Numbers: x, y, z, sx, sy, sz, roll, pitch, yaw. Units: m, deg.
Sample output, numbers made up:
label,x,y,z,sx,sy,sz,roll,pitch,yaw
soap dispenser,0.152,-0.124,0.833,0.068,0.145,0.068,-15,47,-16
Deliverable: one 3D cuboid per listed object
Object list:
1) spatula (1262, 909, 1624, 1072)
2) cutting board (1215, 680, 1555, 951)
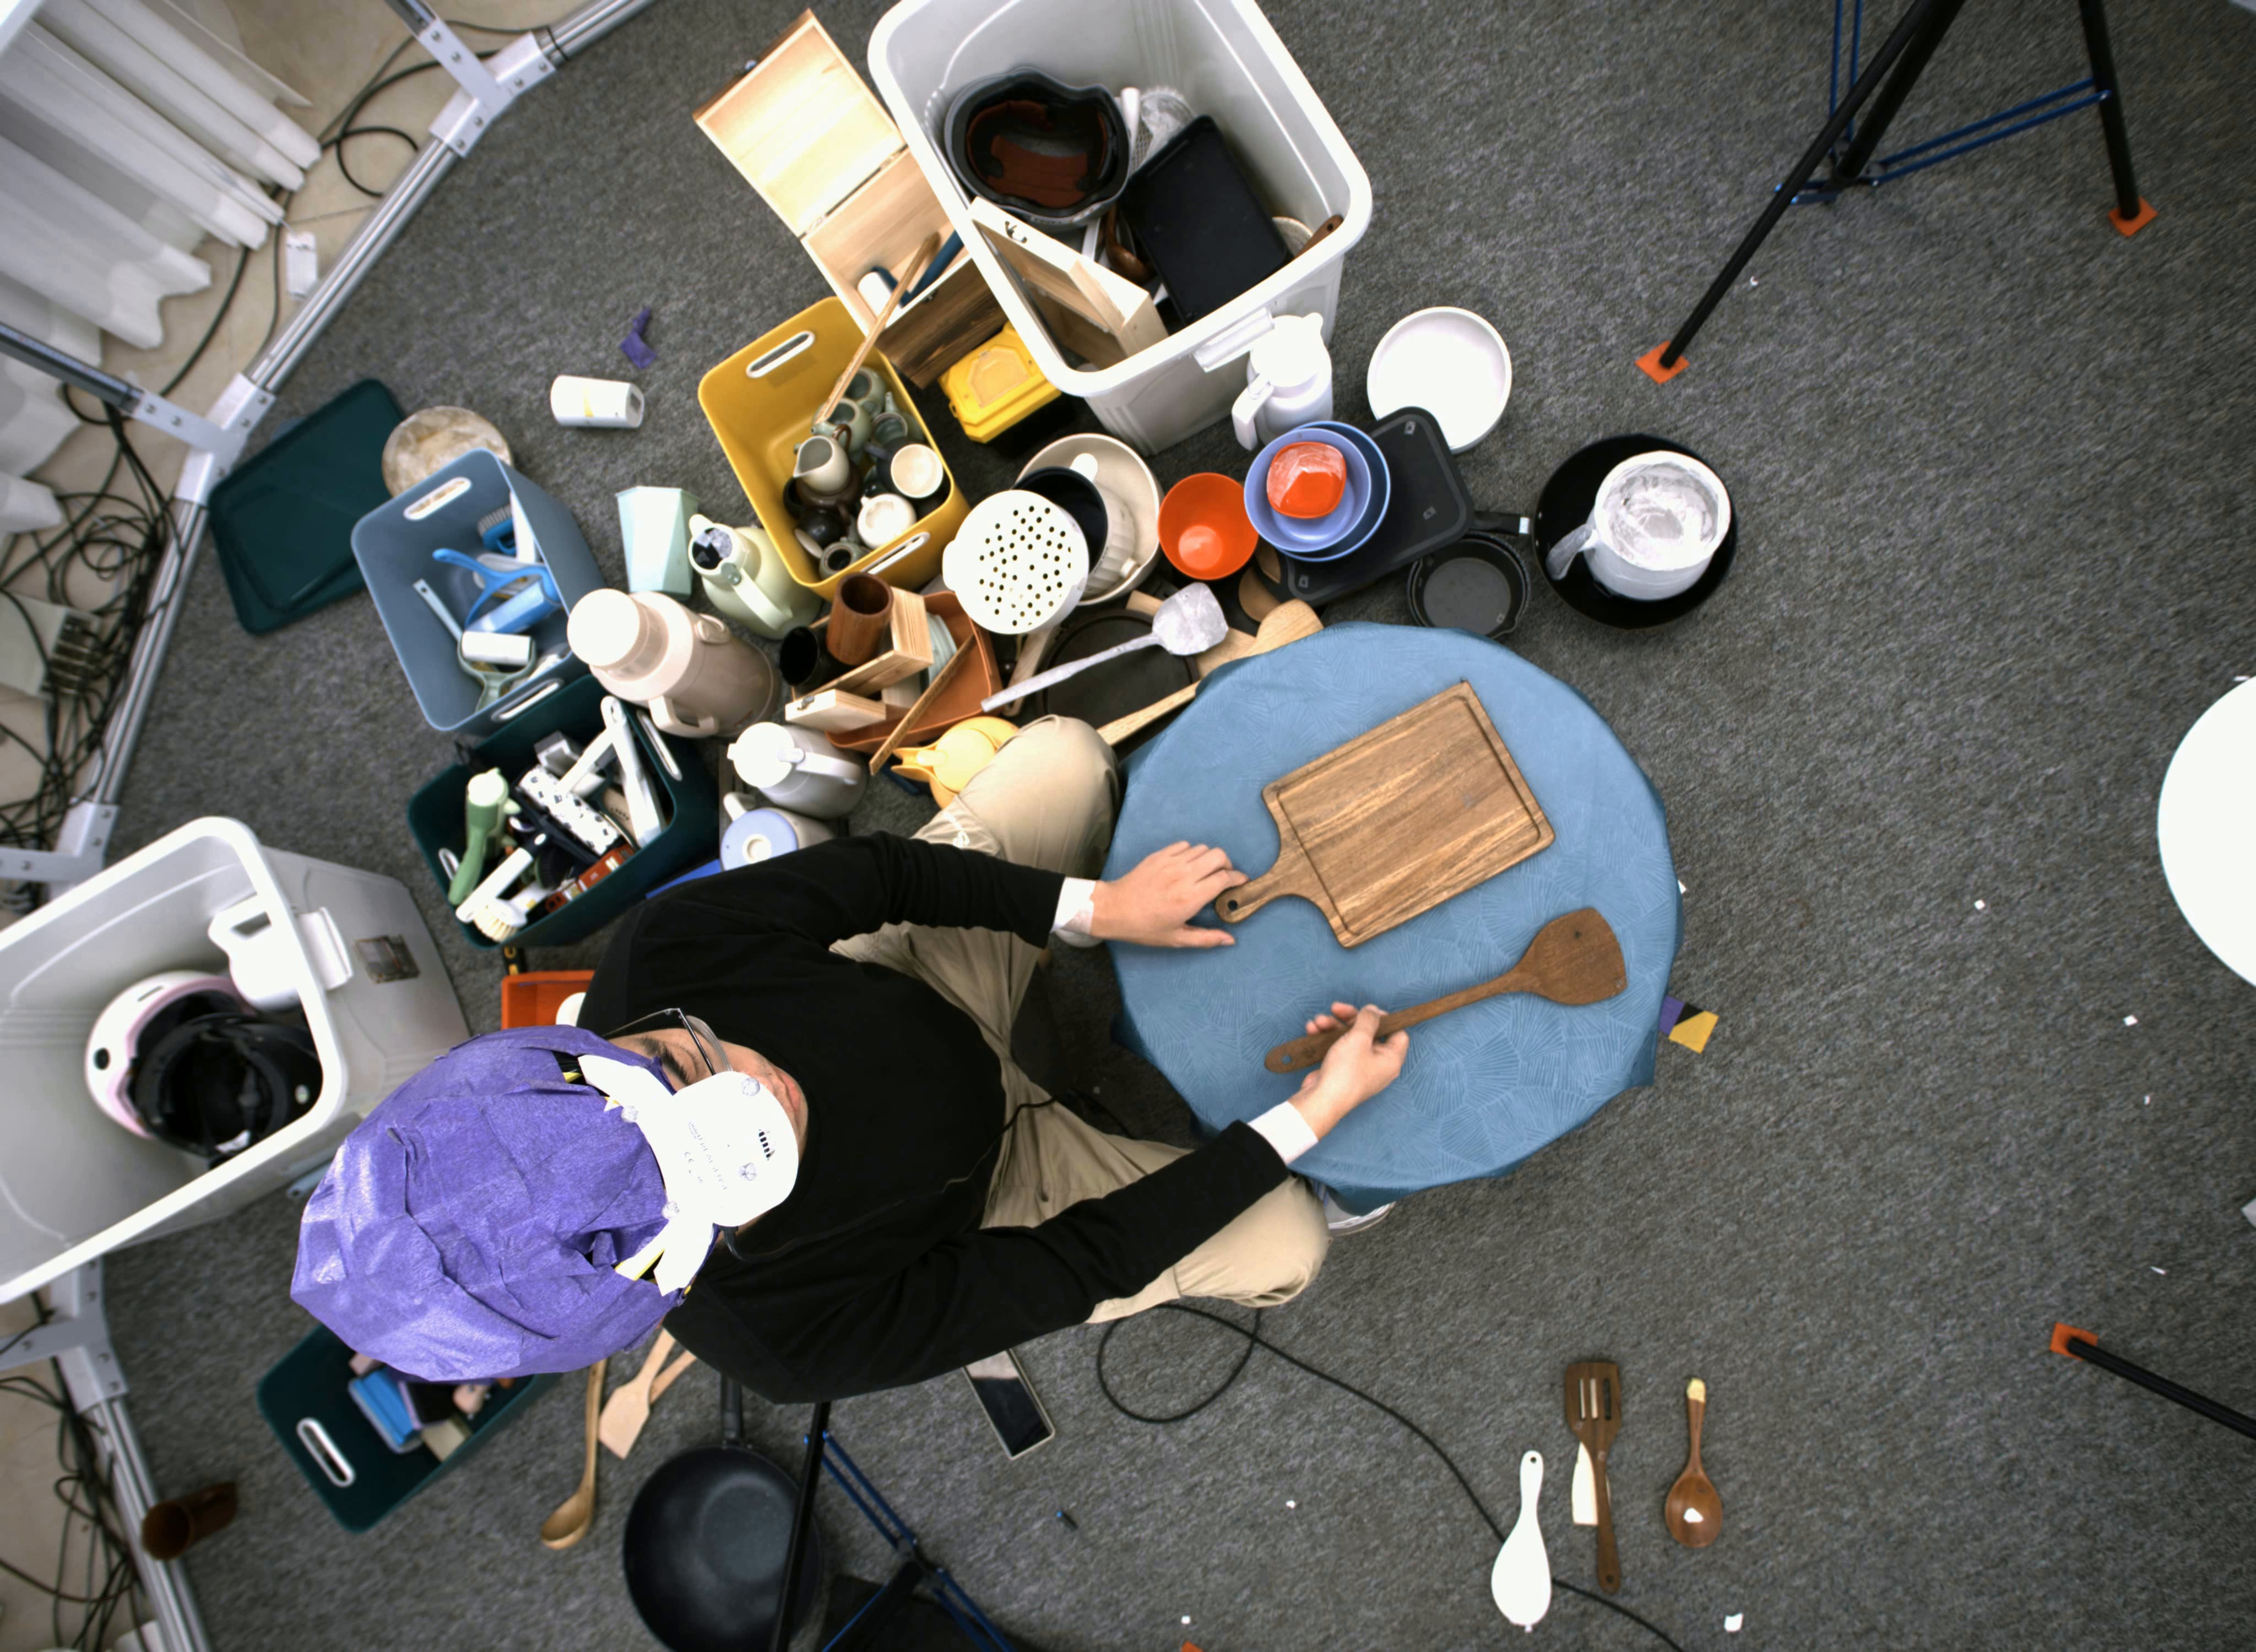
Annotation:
label,x,y,z,sx,sy,sz,roll,pitch,yaw
spatula,0.321,0.181,1.413,0.386,0.016,0.095,-18,84,-1
cutting board,0.248,0.010,1.457,0.354,0.023,0.200,-29,82,8
